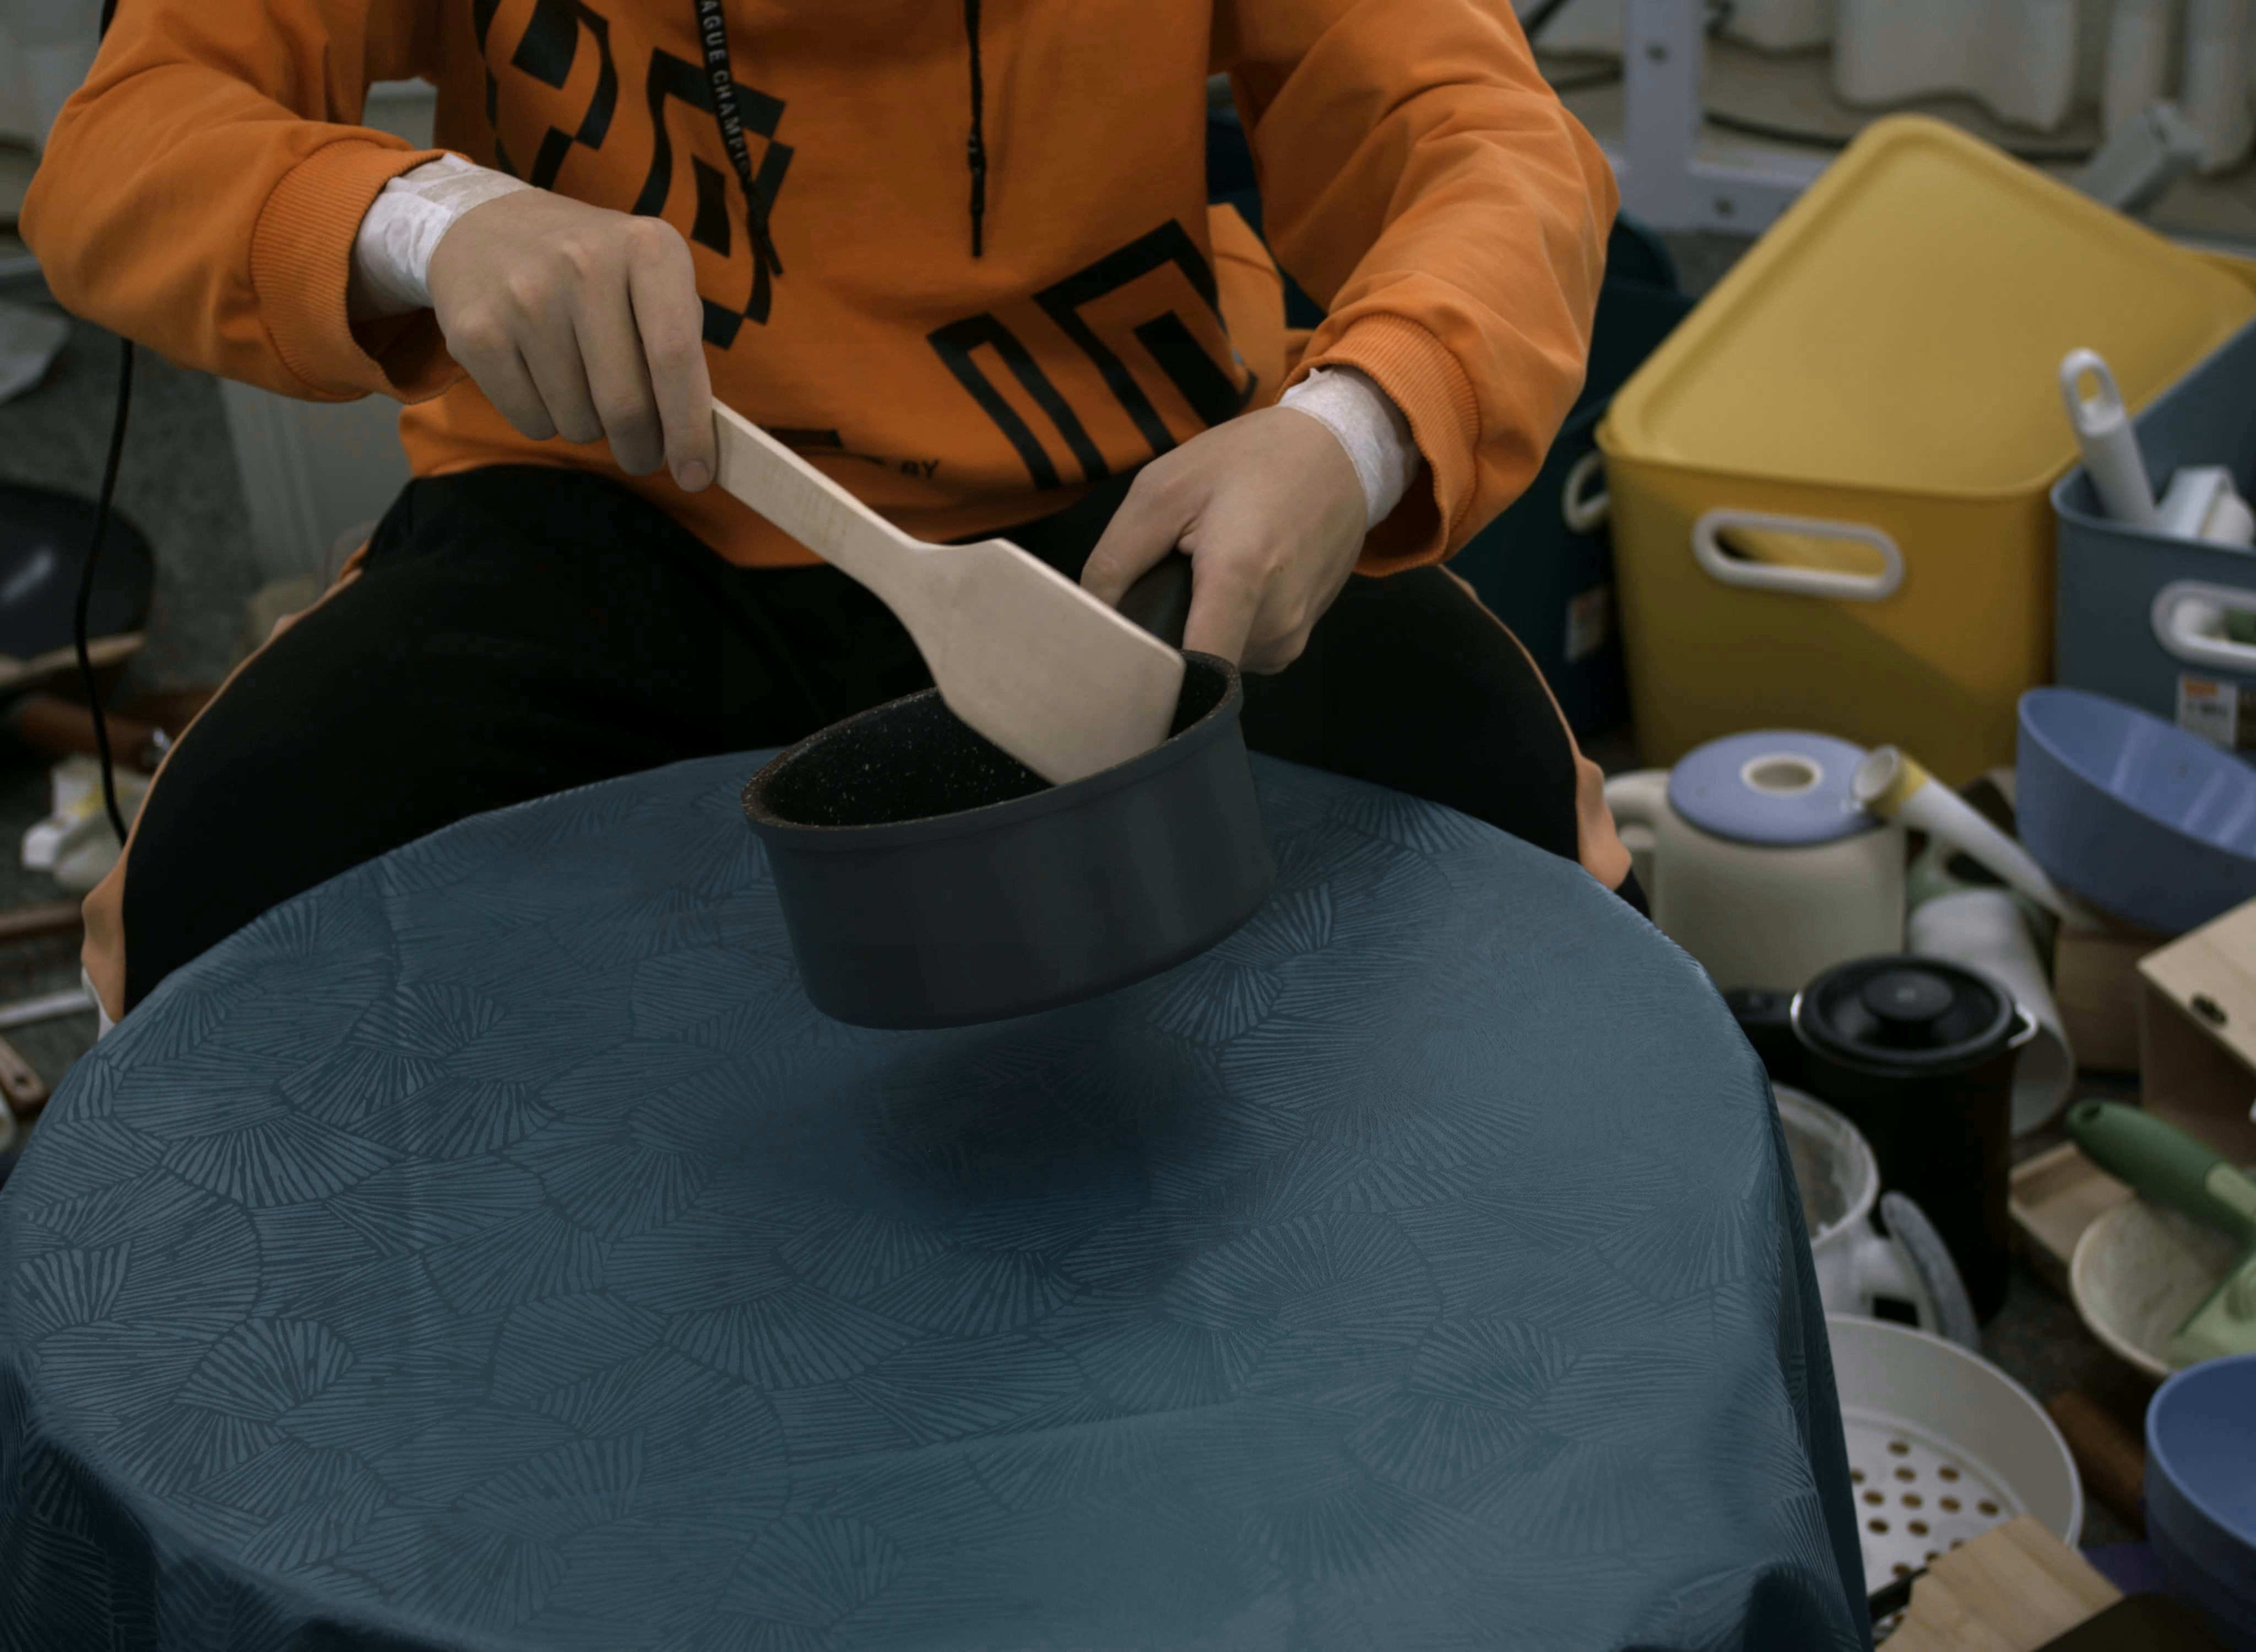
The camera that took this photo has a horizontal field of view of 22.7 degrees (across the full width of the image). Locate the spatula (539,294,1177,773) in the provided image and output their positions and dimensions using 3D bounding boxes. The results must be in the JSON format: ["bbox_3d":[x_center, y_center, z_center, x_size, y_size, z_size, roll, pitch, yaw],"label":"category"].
[{"bbox_3d":[-0.098,-0.105,1.919,0.293,0.071,0.011,35,38,26],"label":"spatula"}]

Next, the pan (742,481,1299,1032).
[{"bbox_3d":[-0.008,-0.027,1.938,0.170,0.086,0.334,-5,19,25],"label":"pan"}]
